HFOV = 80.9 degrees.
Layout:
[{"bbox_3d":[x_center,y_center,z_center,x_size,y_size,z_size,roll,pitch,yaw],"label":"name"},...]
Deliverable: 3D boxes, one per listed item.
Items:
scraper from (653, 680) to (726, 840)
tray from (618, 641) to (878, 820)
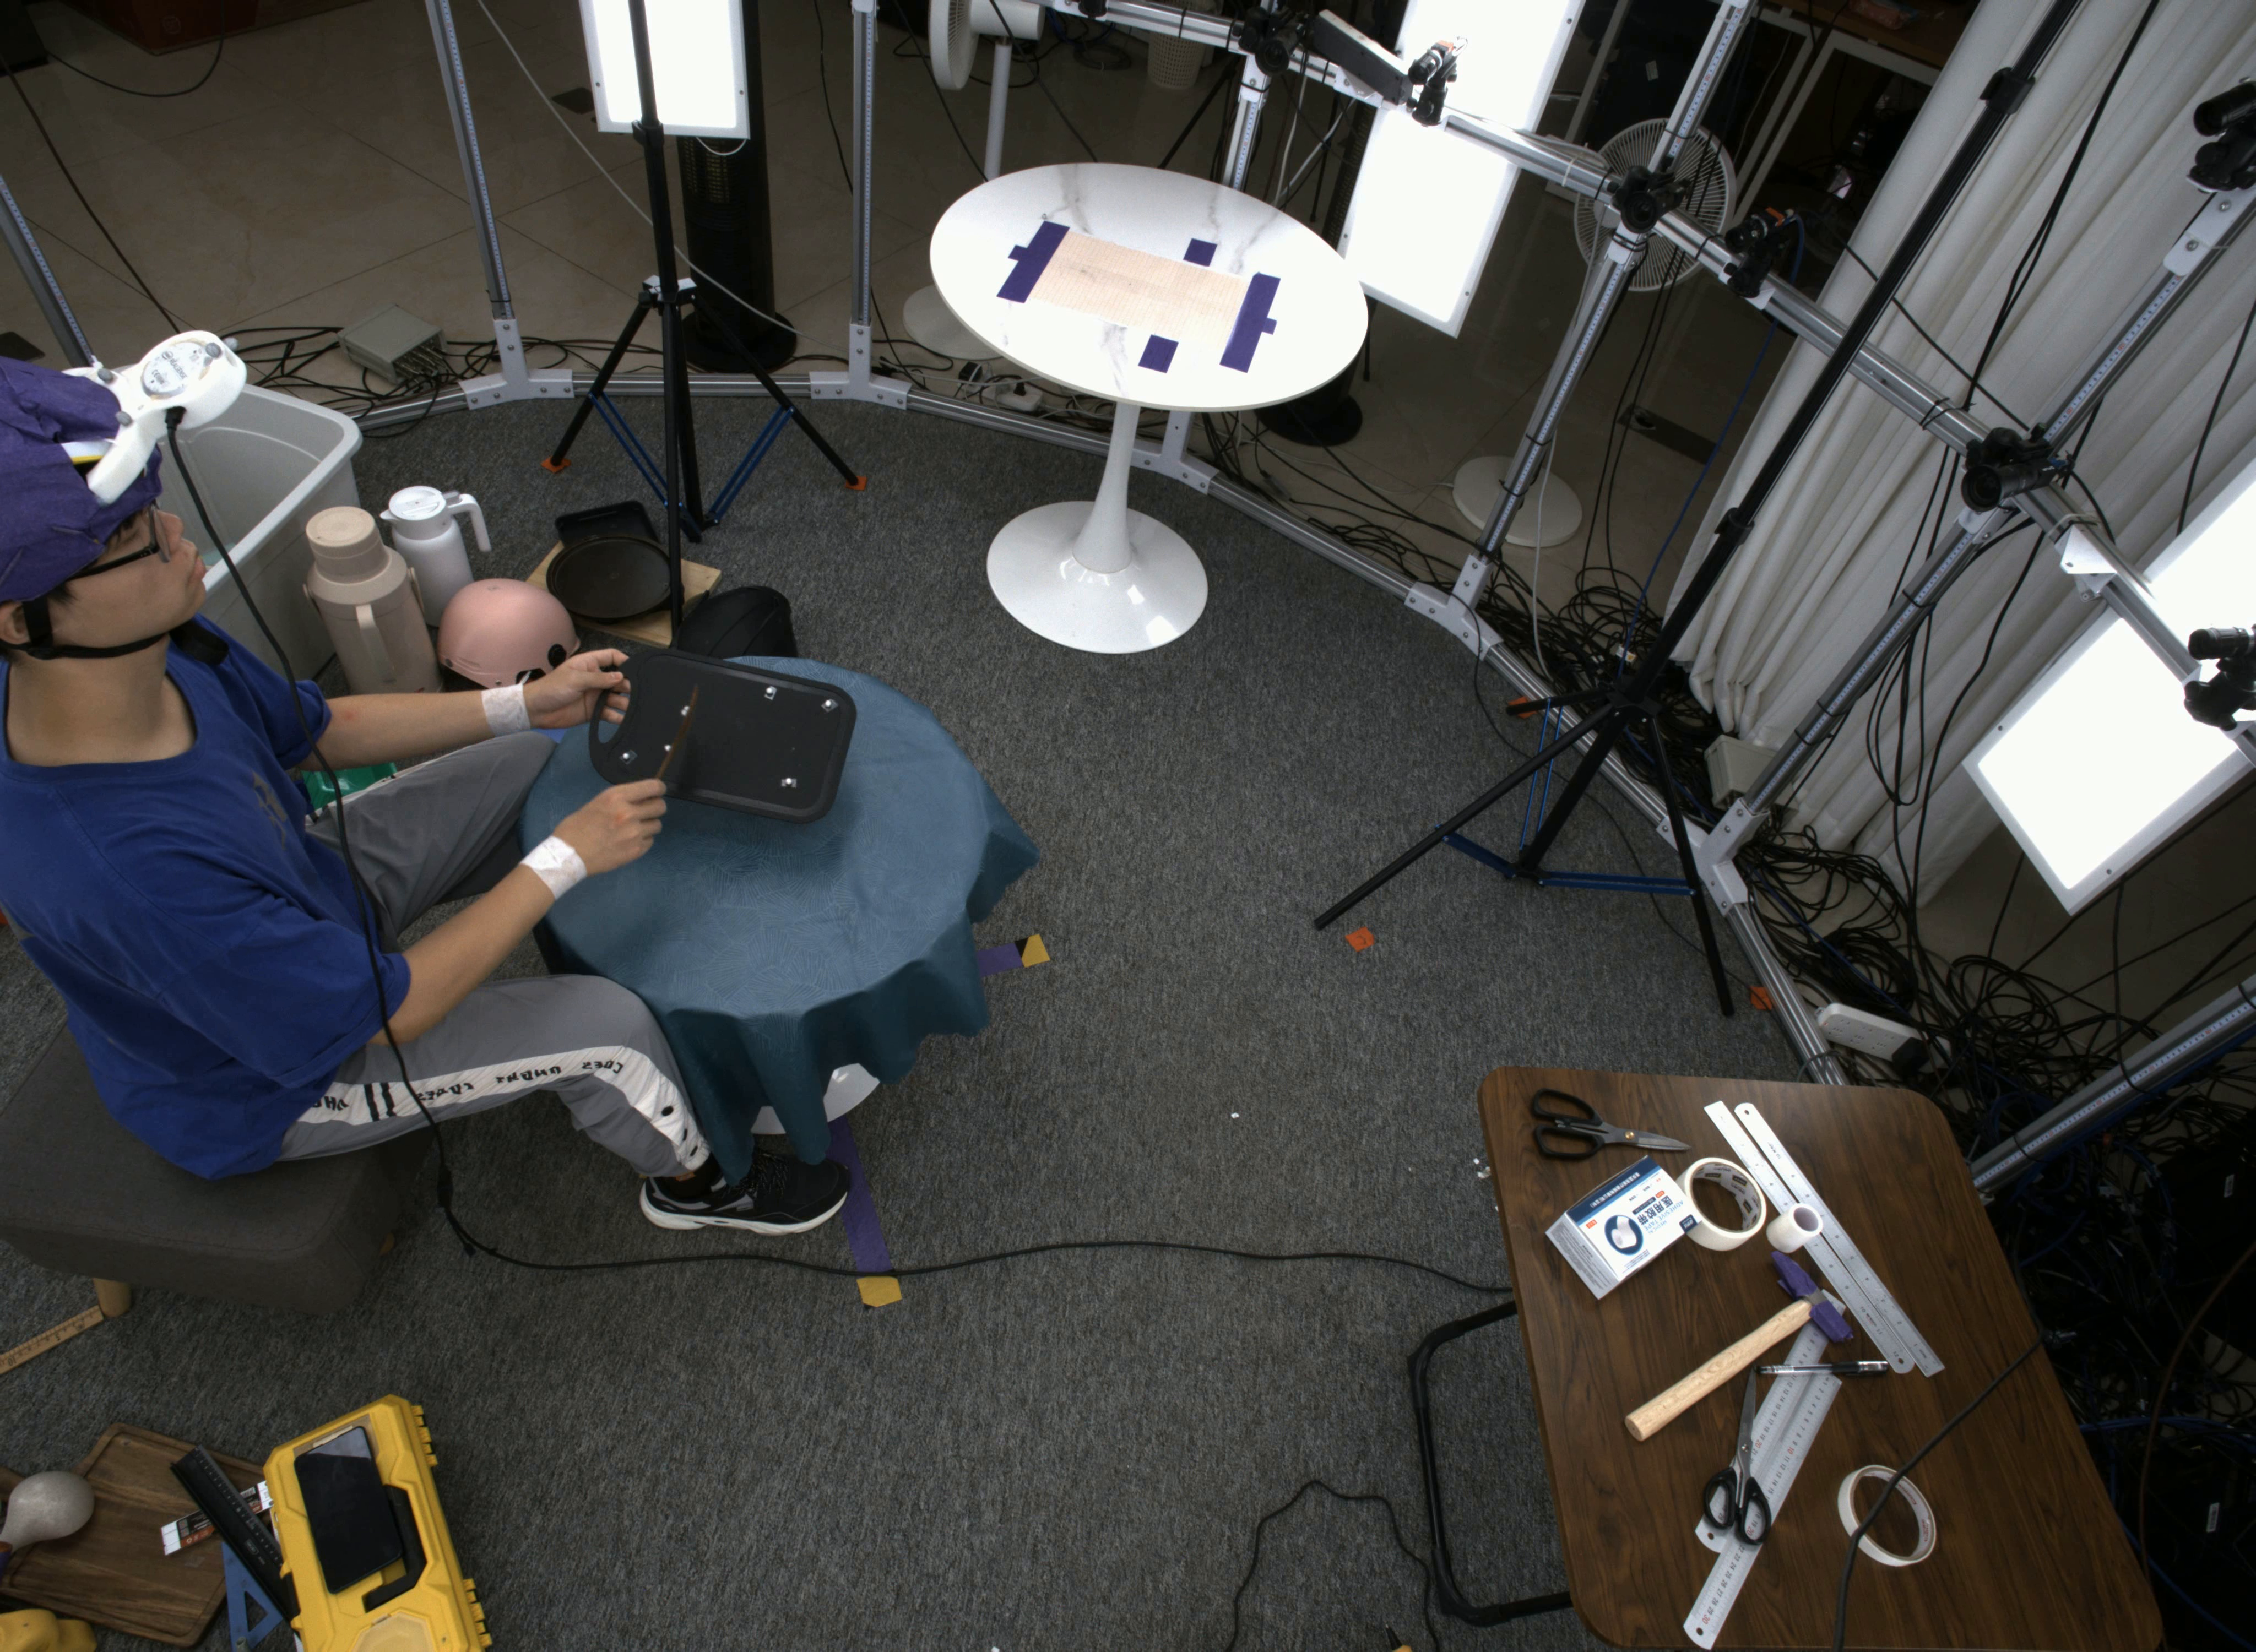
[{"bbox_3d":[-0.531,-0.079,1.563,0.011,0.075,0.210,24,66,-13],"label":"scraper"},{"bbox_3d":[-0.498,-0.129,1.674,0.325,0.010,0.209,14,65,-10],"label":"tray"}]
